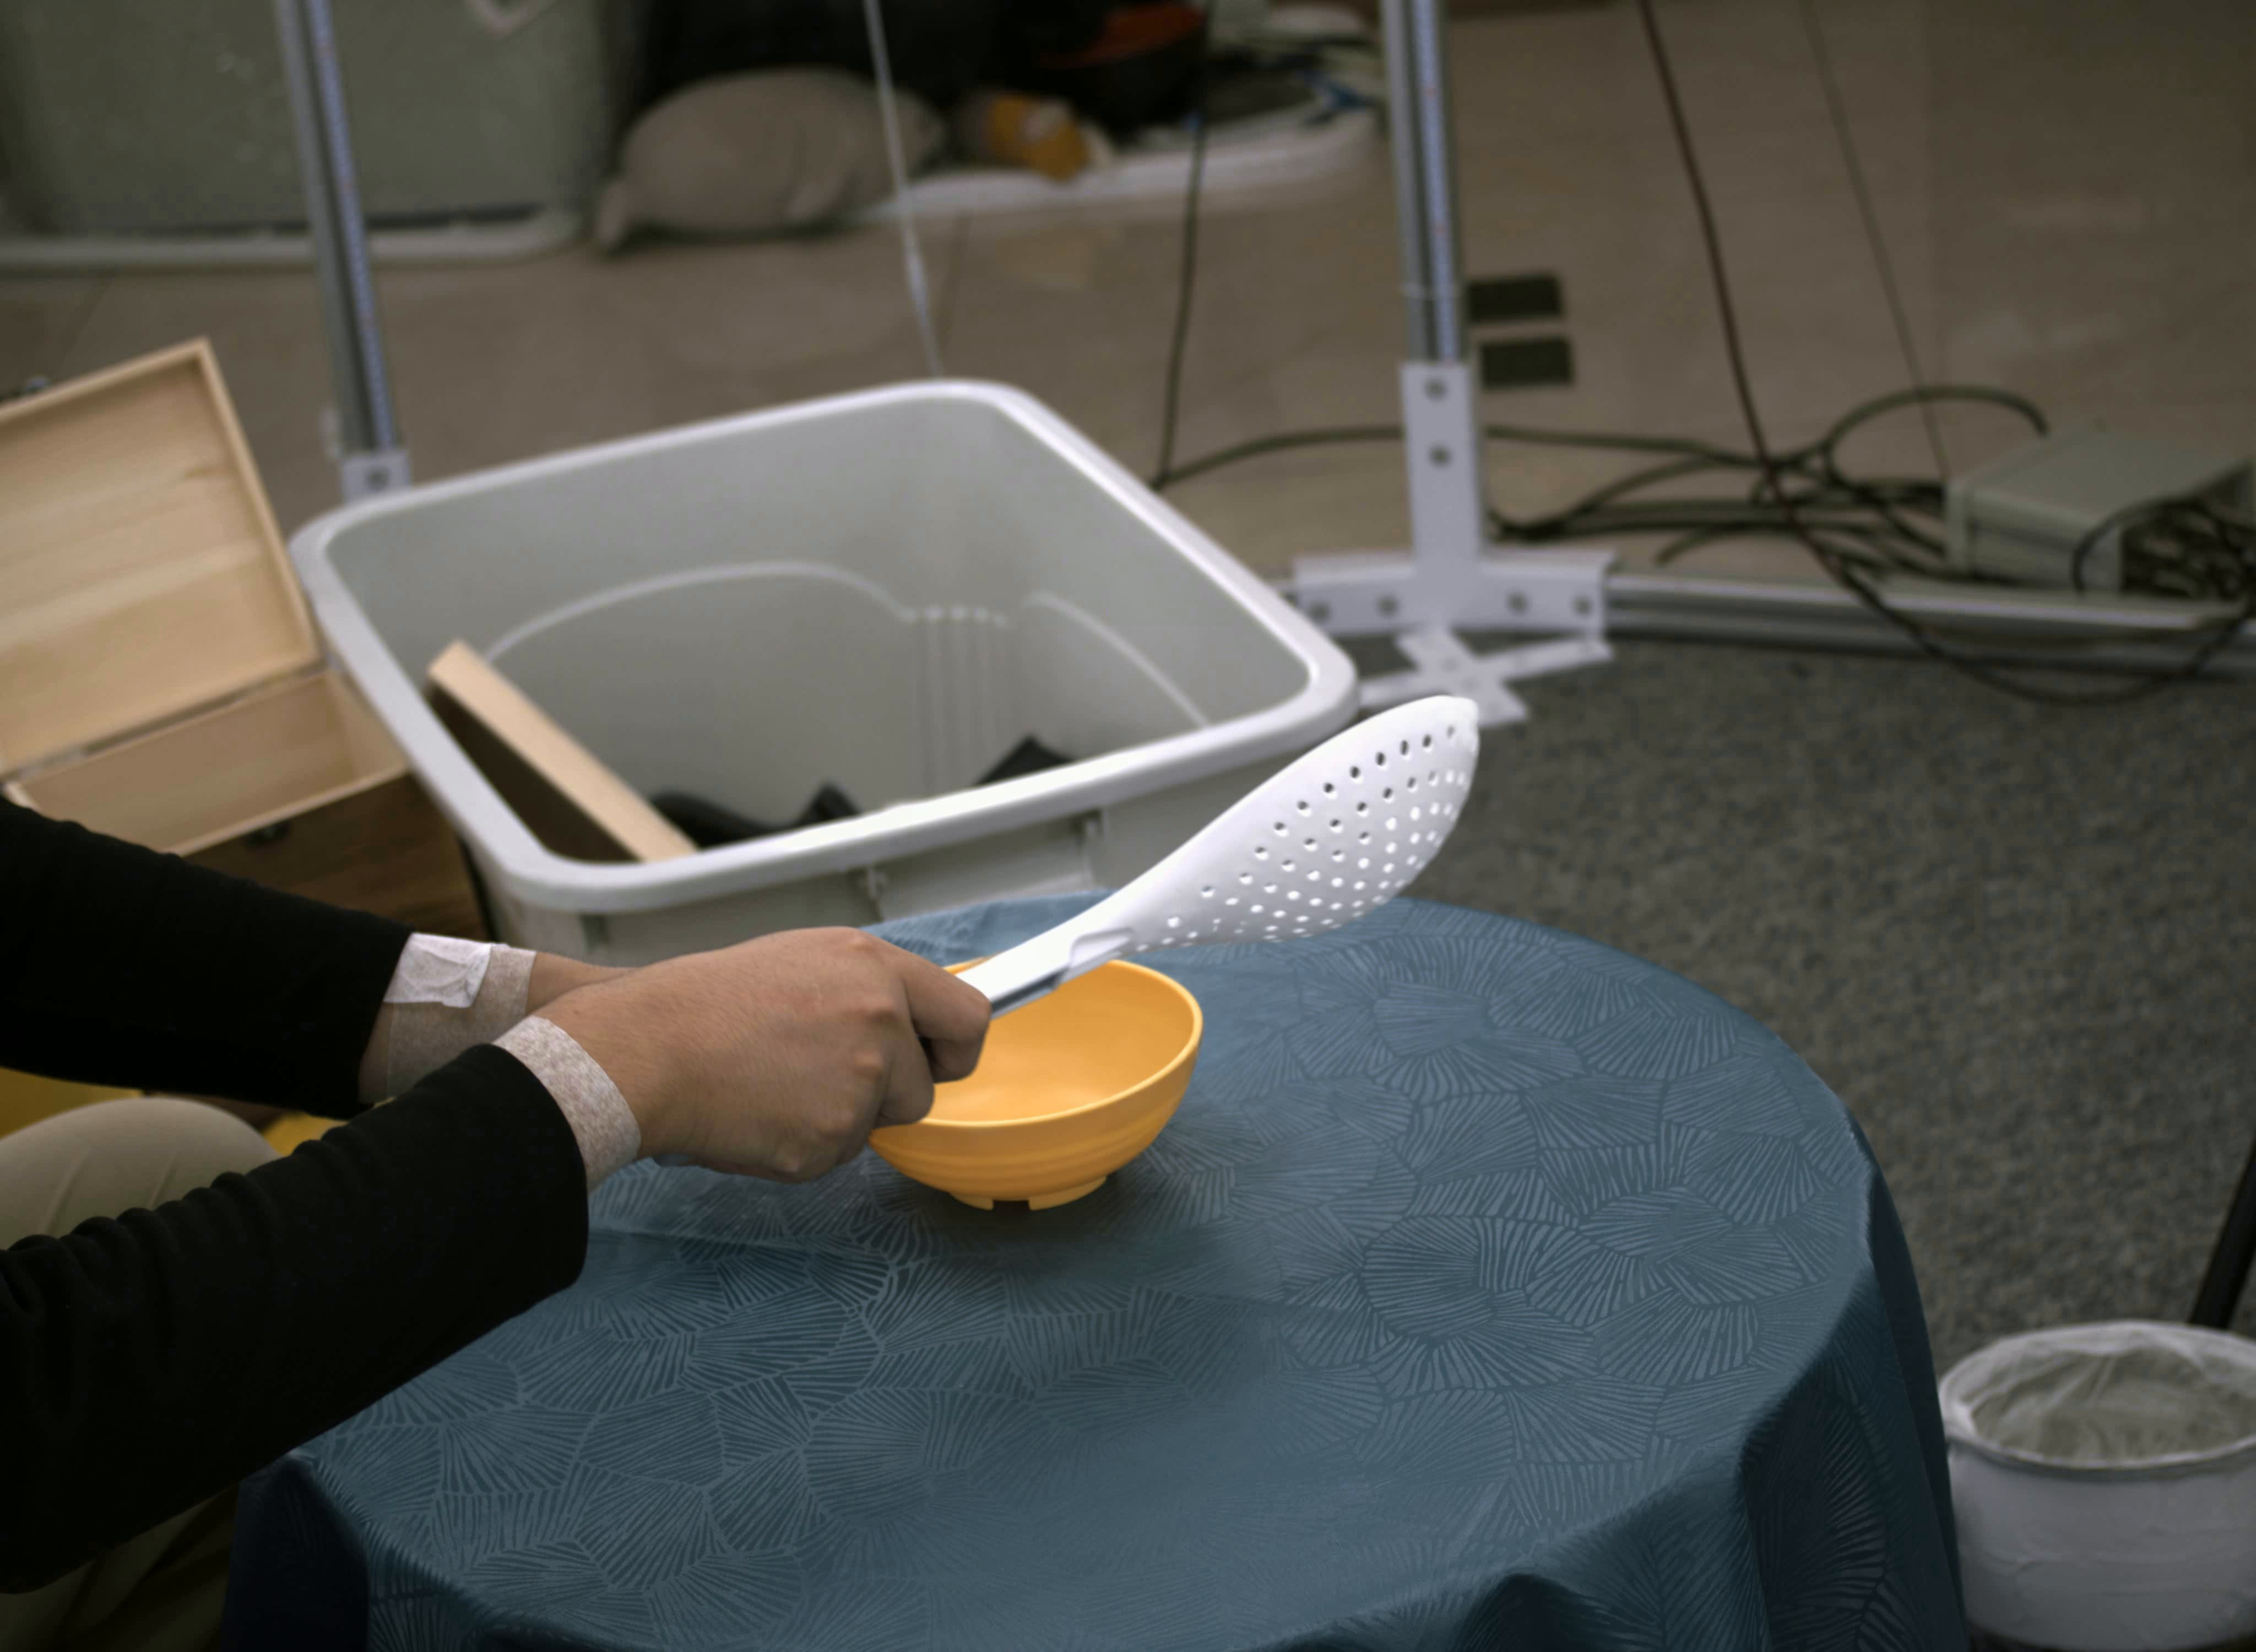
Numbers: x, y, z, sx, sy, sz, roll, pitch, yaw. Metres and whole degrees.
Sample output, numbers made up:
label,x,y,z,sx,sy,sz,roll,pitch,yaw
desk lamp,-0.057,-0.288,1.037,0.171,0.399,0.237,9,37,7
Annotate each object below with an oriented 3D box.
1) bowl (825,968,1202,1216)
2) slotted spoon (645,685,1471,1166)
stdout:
label,x,y,z,sx,sy,sz,roll,pitch,yaw
bowl,-0.041,0.108,2.156,0.145,0.061,0.143,-5,22,2
slotted spoon,-0.018,0.039,1.993,0.348,0.138,0.045,-20,69,-24
